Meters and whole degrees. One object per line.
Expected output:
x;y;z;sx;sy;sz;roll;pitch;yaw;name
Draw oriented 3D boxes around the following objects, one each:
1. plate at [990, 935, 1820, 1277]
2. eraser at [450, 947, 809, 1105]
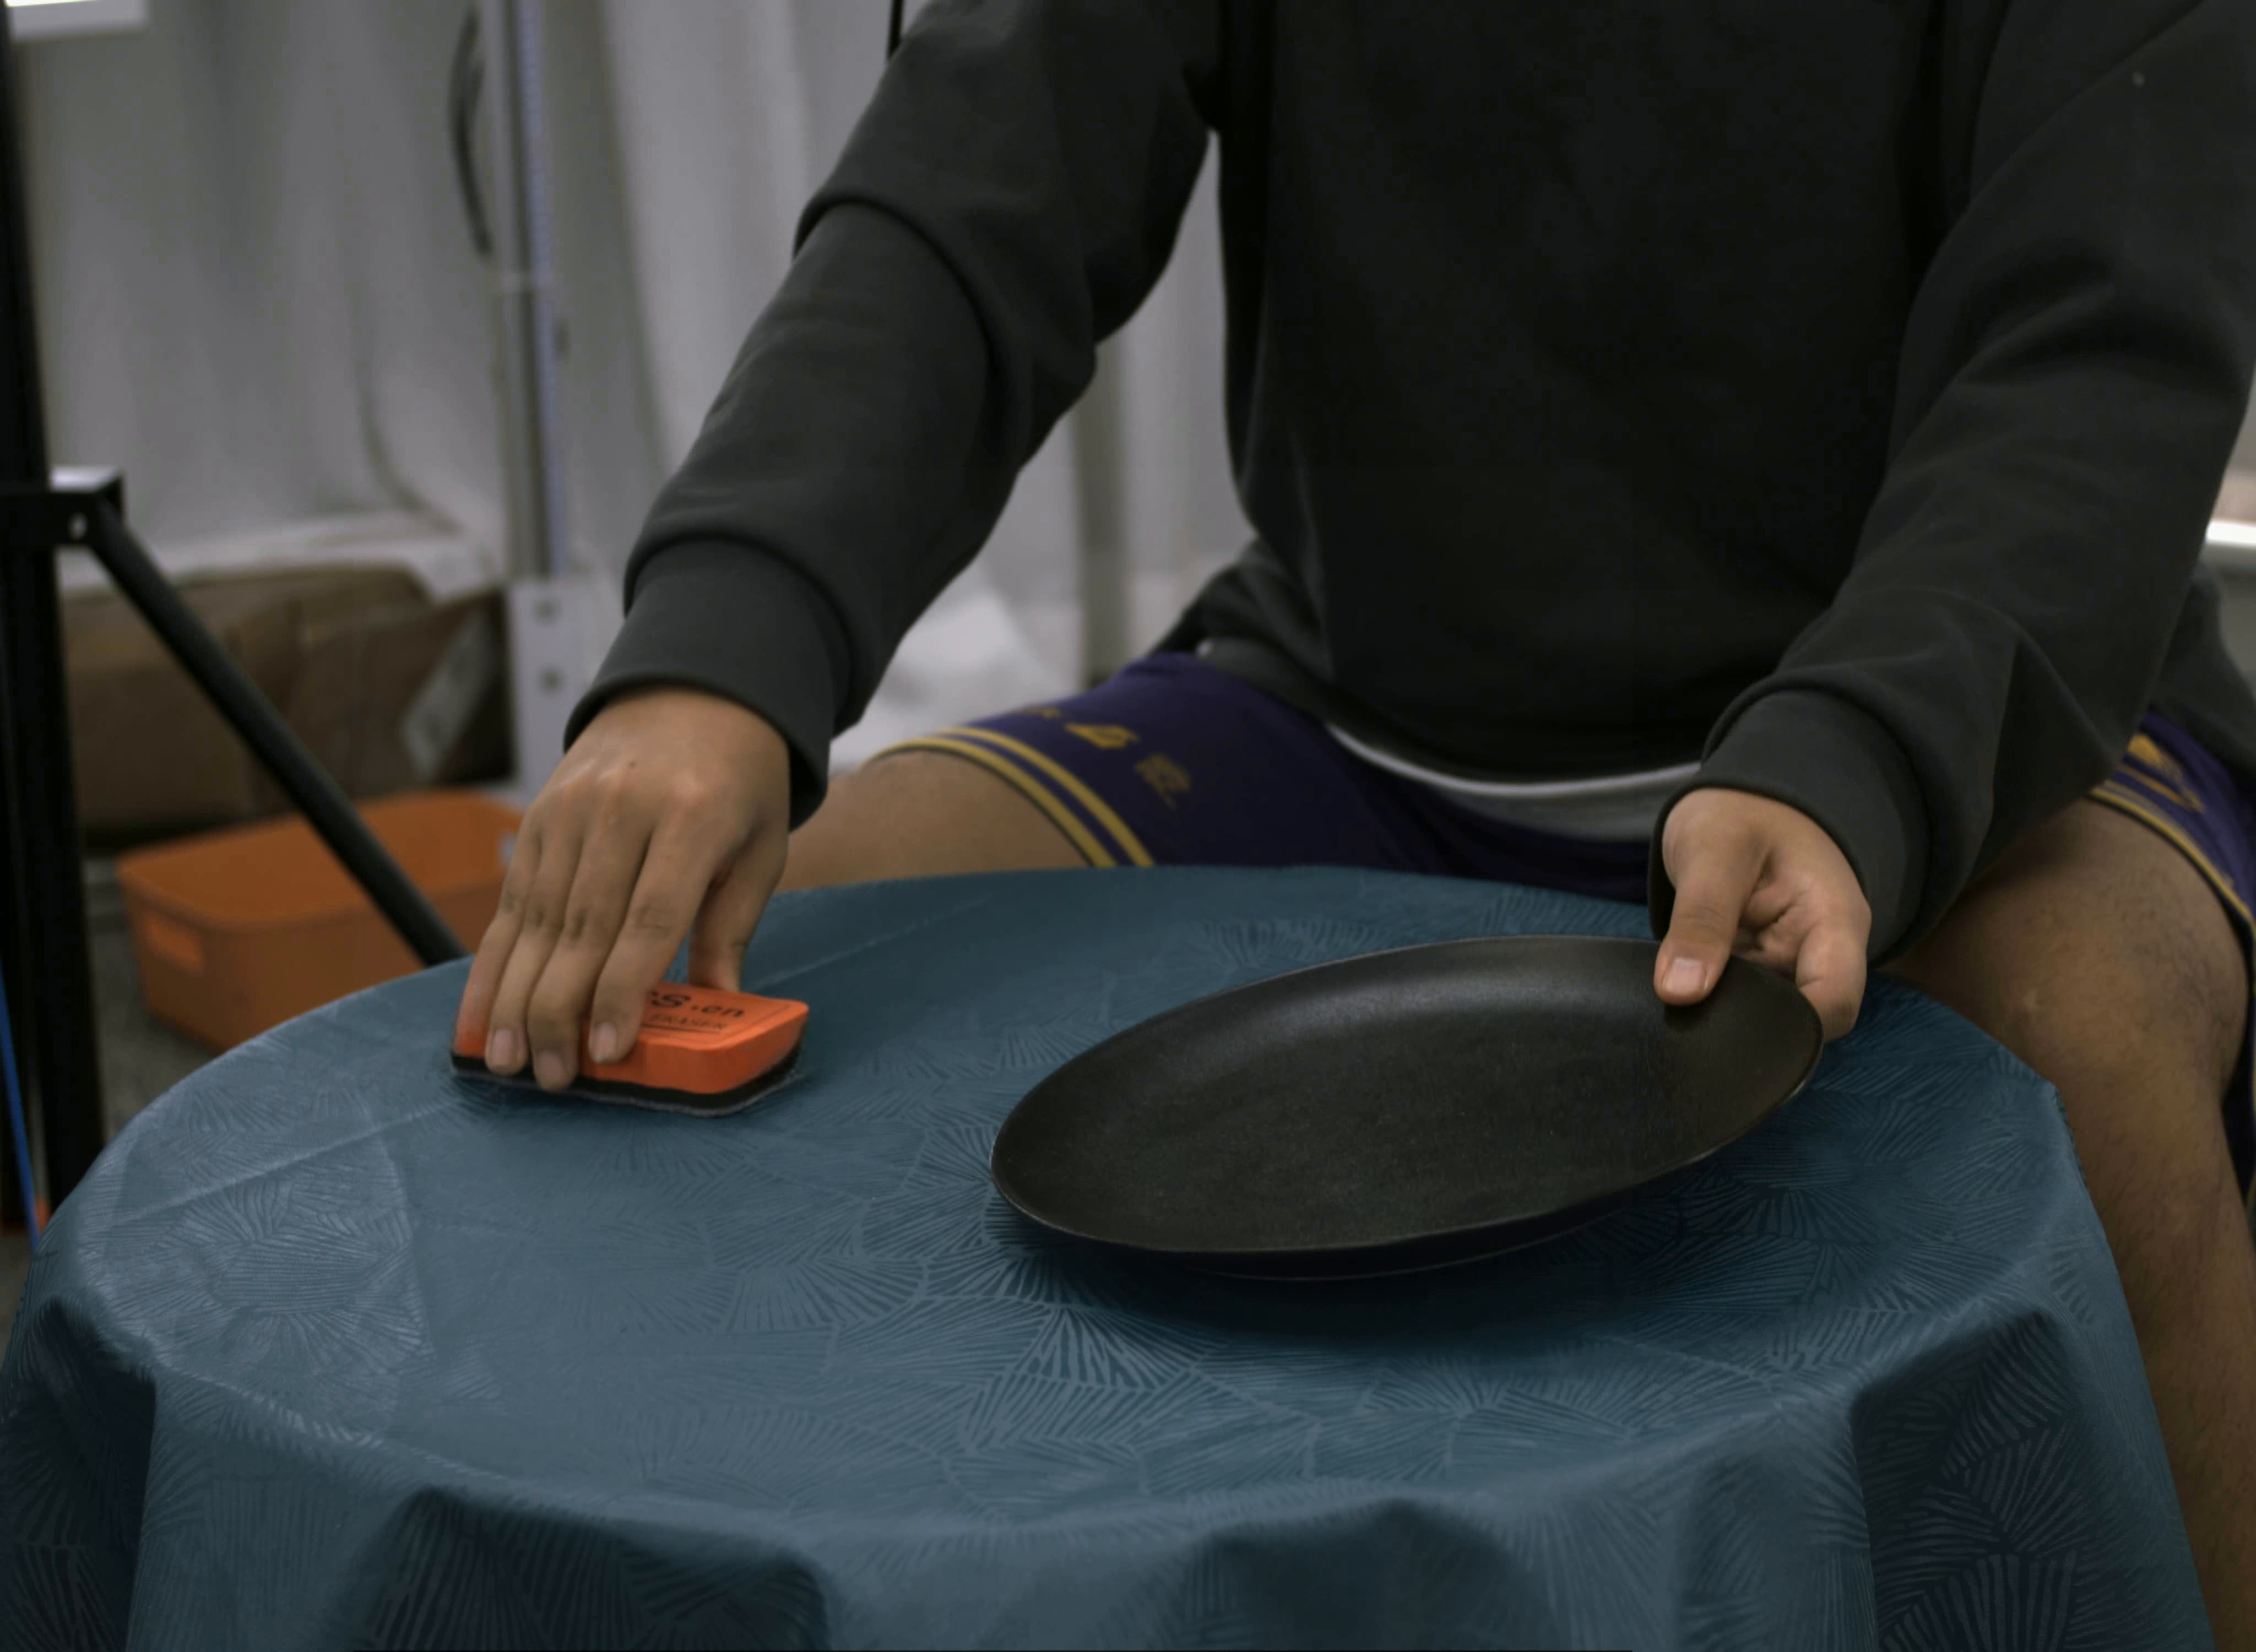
0.081;0.084;1.534;0.244;0.023;0.246;-11;17;2;plate
-0.157;0.063;1.686;0.110;0.023;0.058;10;19;29;eraser
